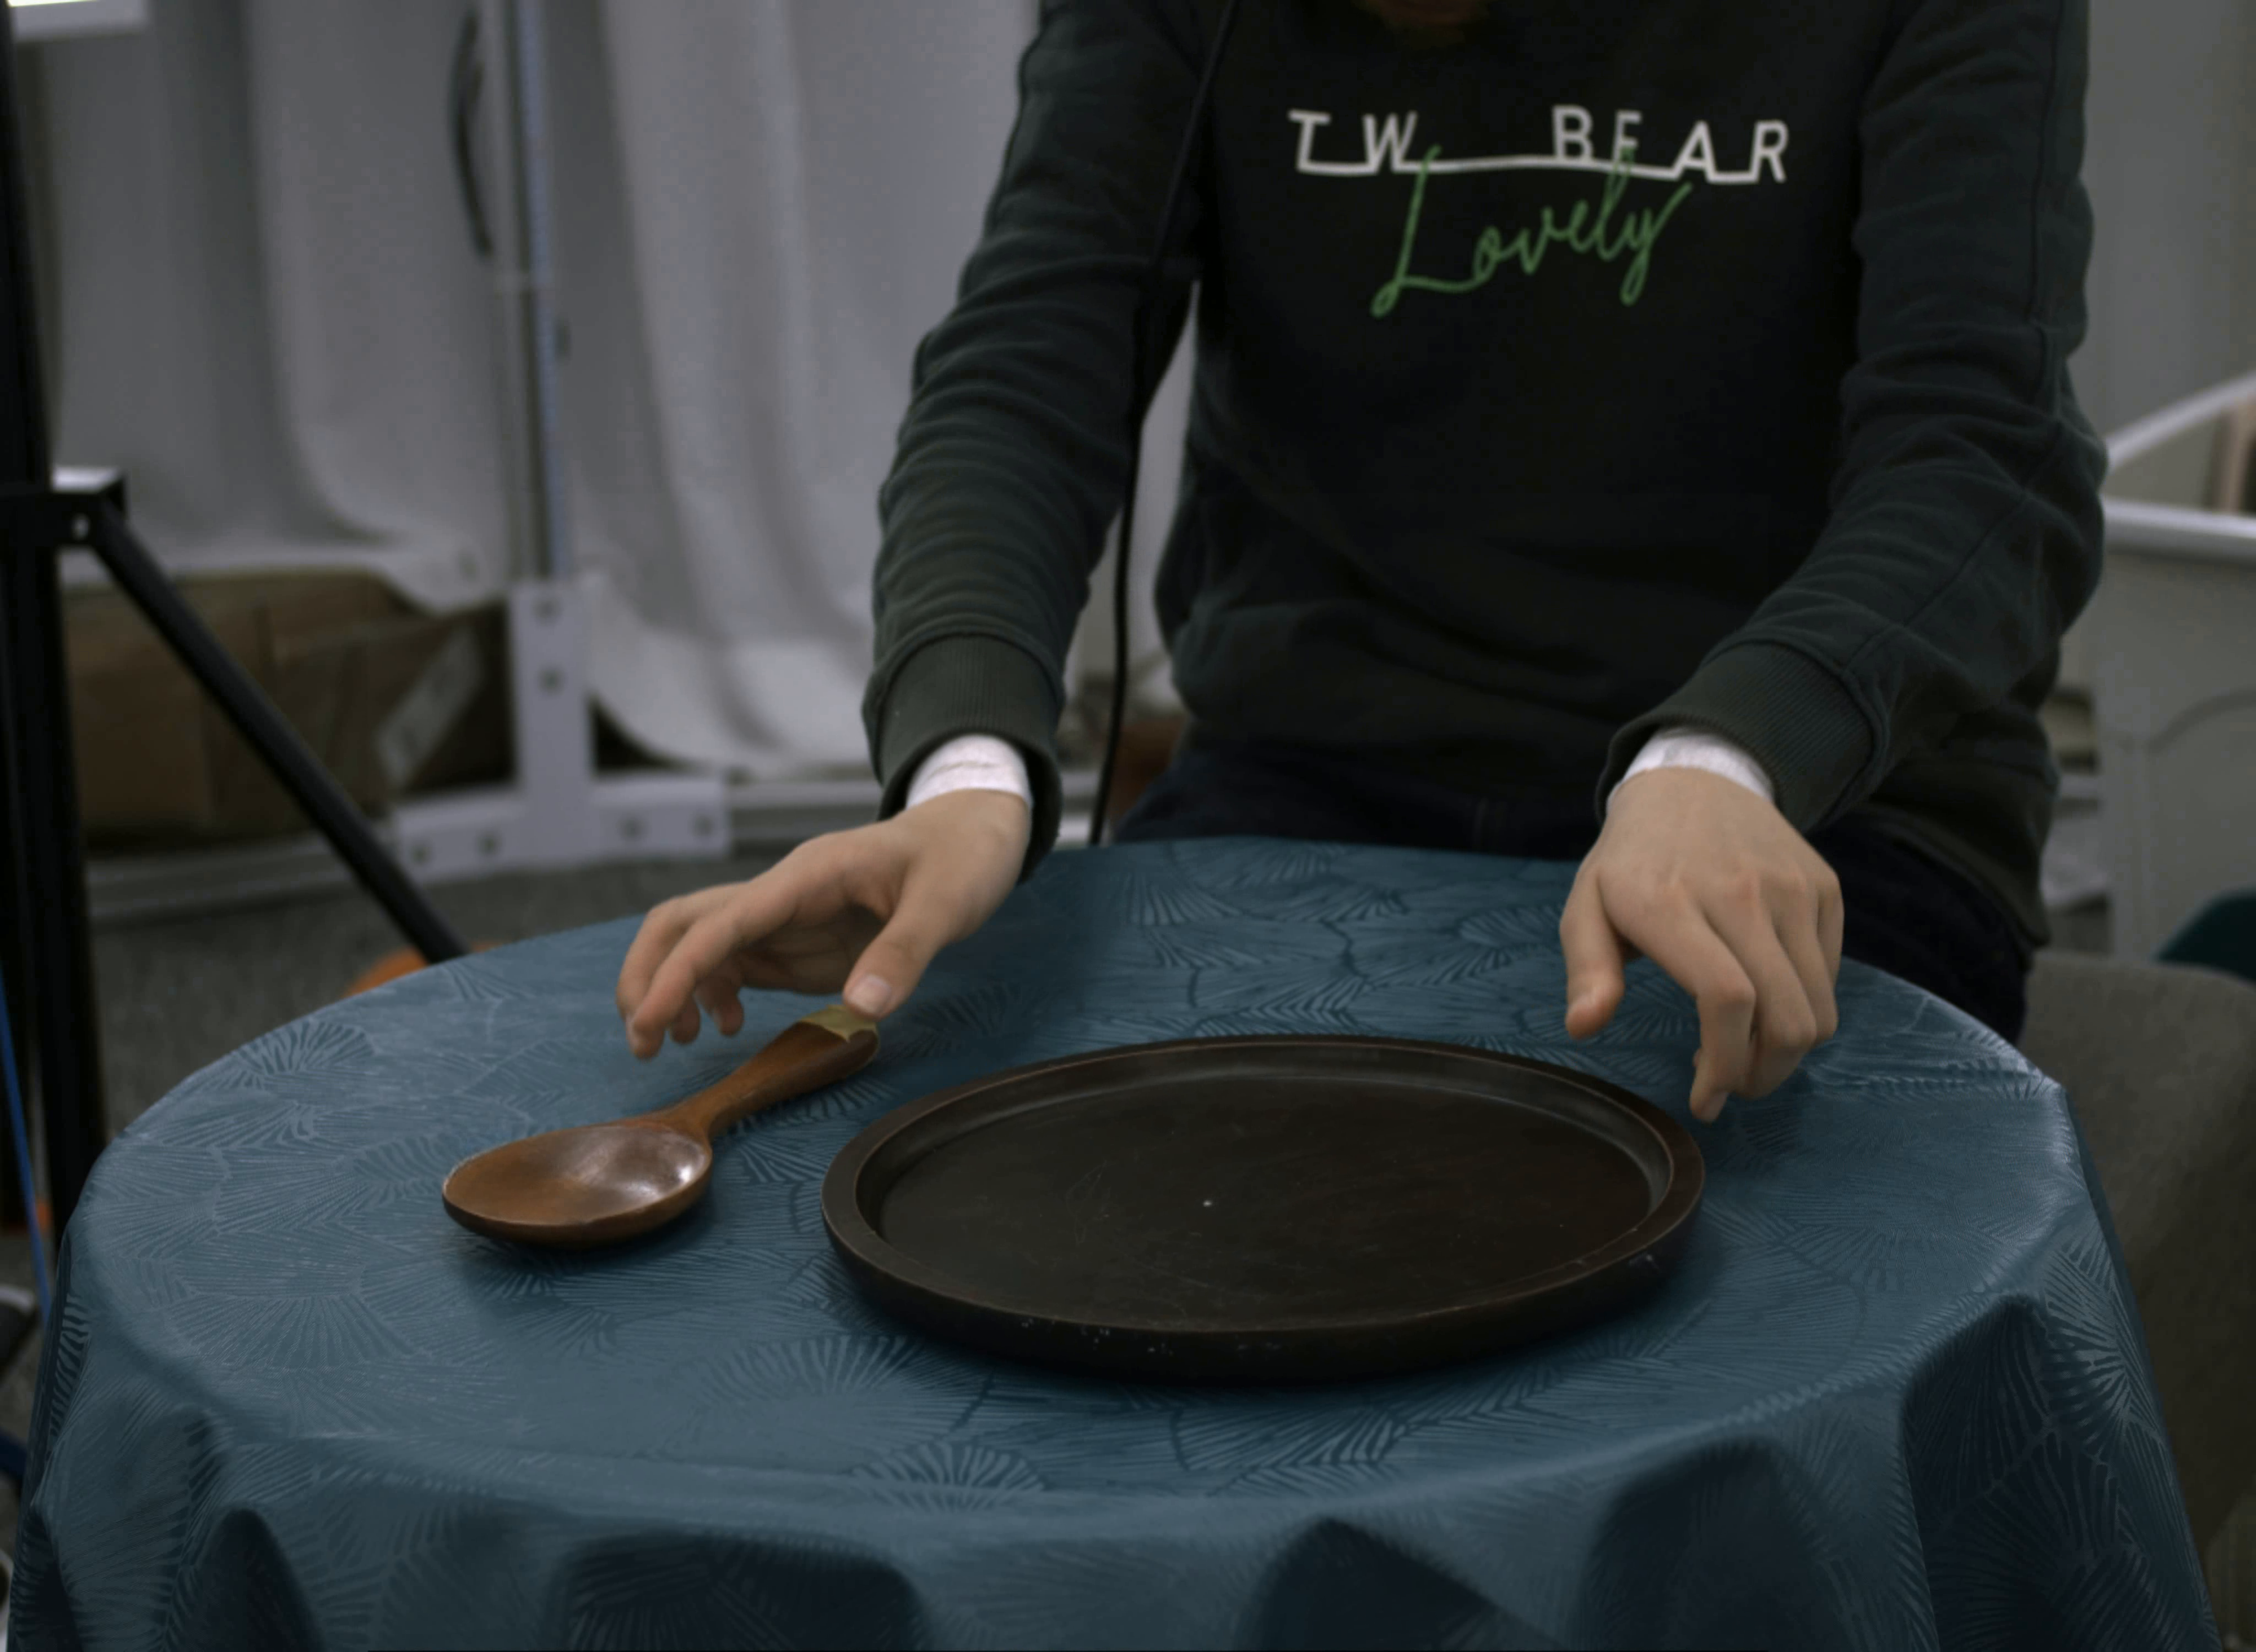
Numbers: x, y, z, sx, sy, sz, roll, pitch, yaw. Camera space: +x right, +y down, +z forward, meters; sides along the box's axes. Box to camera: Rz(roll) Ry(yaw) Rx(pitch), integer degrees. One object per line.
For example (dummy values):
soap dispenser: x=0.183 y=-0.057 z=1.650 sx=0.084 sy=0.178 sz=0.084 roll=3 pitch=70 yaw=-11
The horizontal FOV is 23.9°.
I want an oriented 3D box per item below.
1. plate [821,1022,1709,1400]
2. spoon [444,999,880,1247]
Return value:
plate: x=0.039 y=0.109 z=1.509 sx=0.253 sy=0.029 sz=0.256 roll=-2 pitch=17 yaw=-1
spoon: x=-0.131 y=0.091 z=1.609 sx=0.076 sy=0.017 sz=0.212 roll=5 pitch=18 yaw=26
